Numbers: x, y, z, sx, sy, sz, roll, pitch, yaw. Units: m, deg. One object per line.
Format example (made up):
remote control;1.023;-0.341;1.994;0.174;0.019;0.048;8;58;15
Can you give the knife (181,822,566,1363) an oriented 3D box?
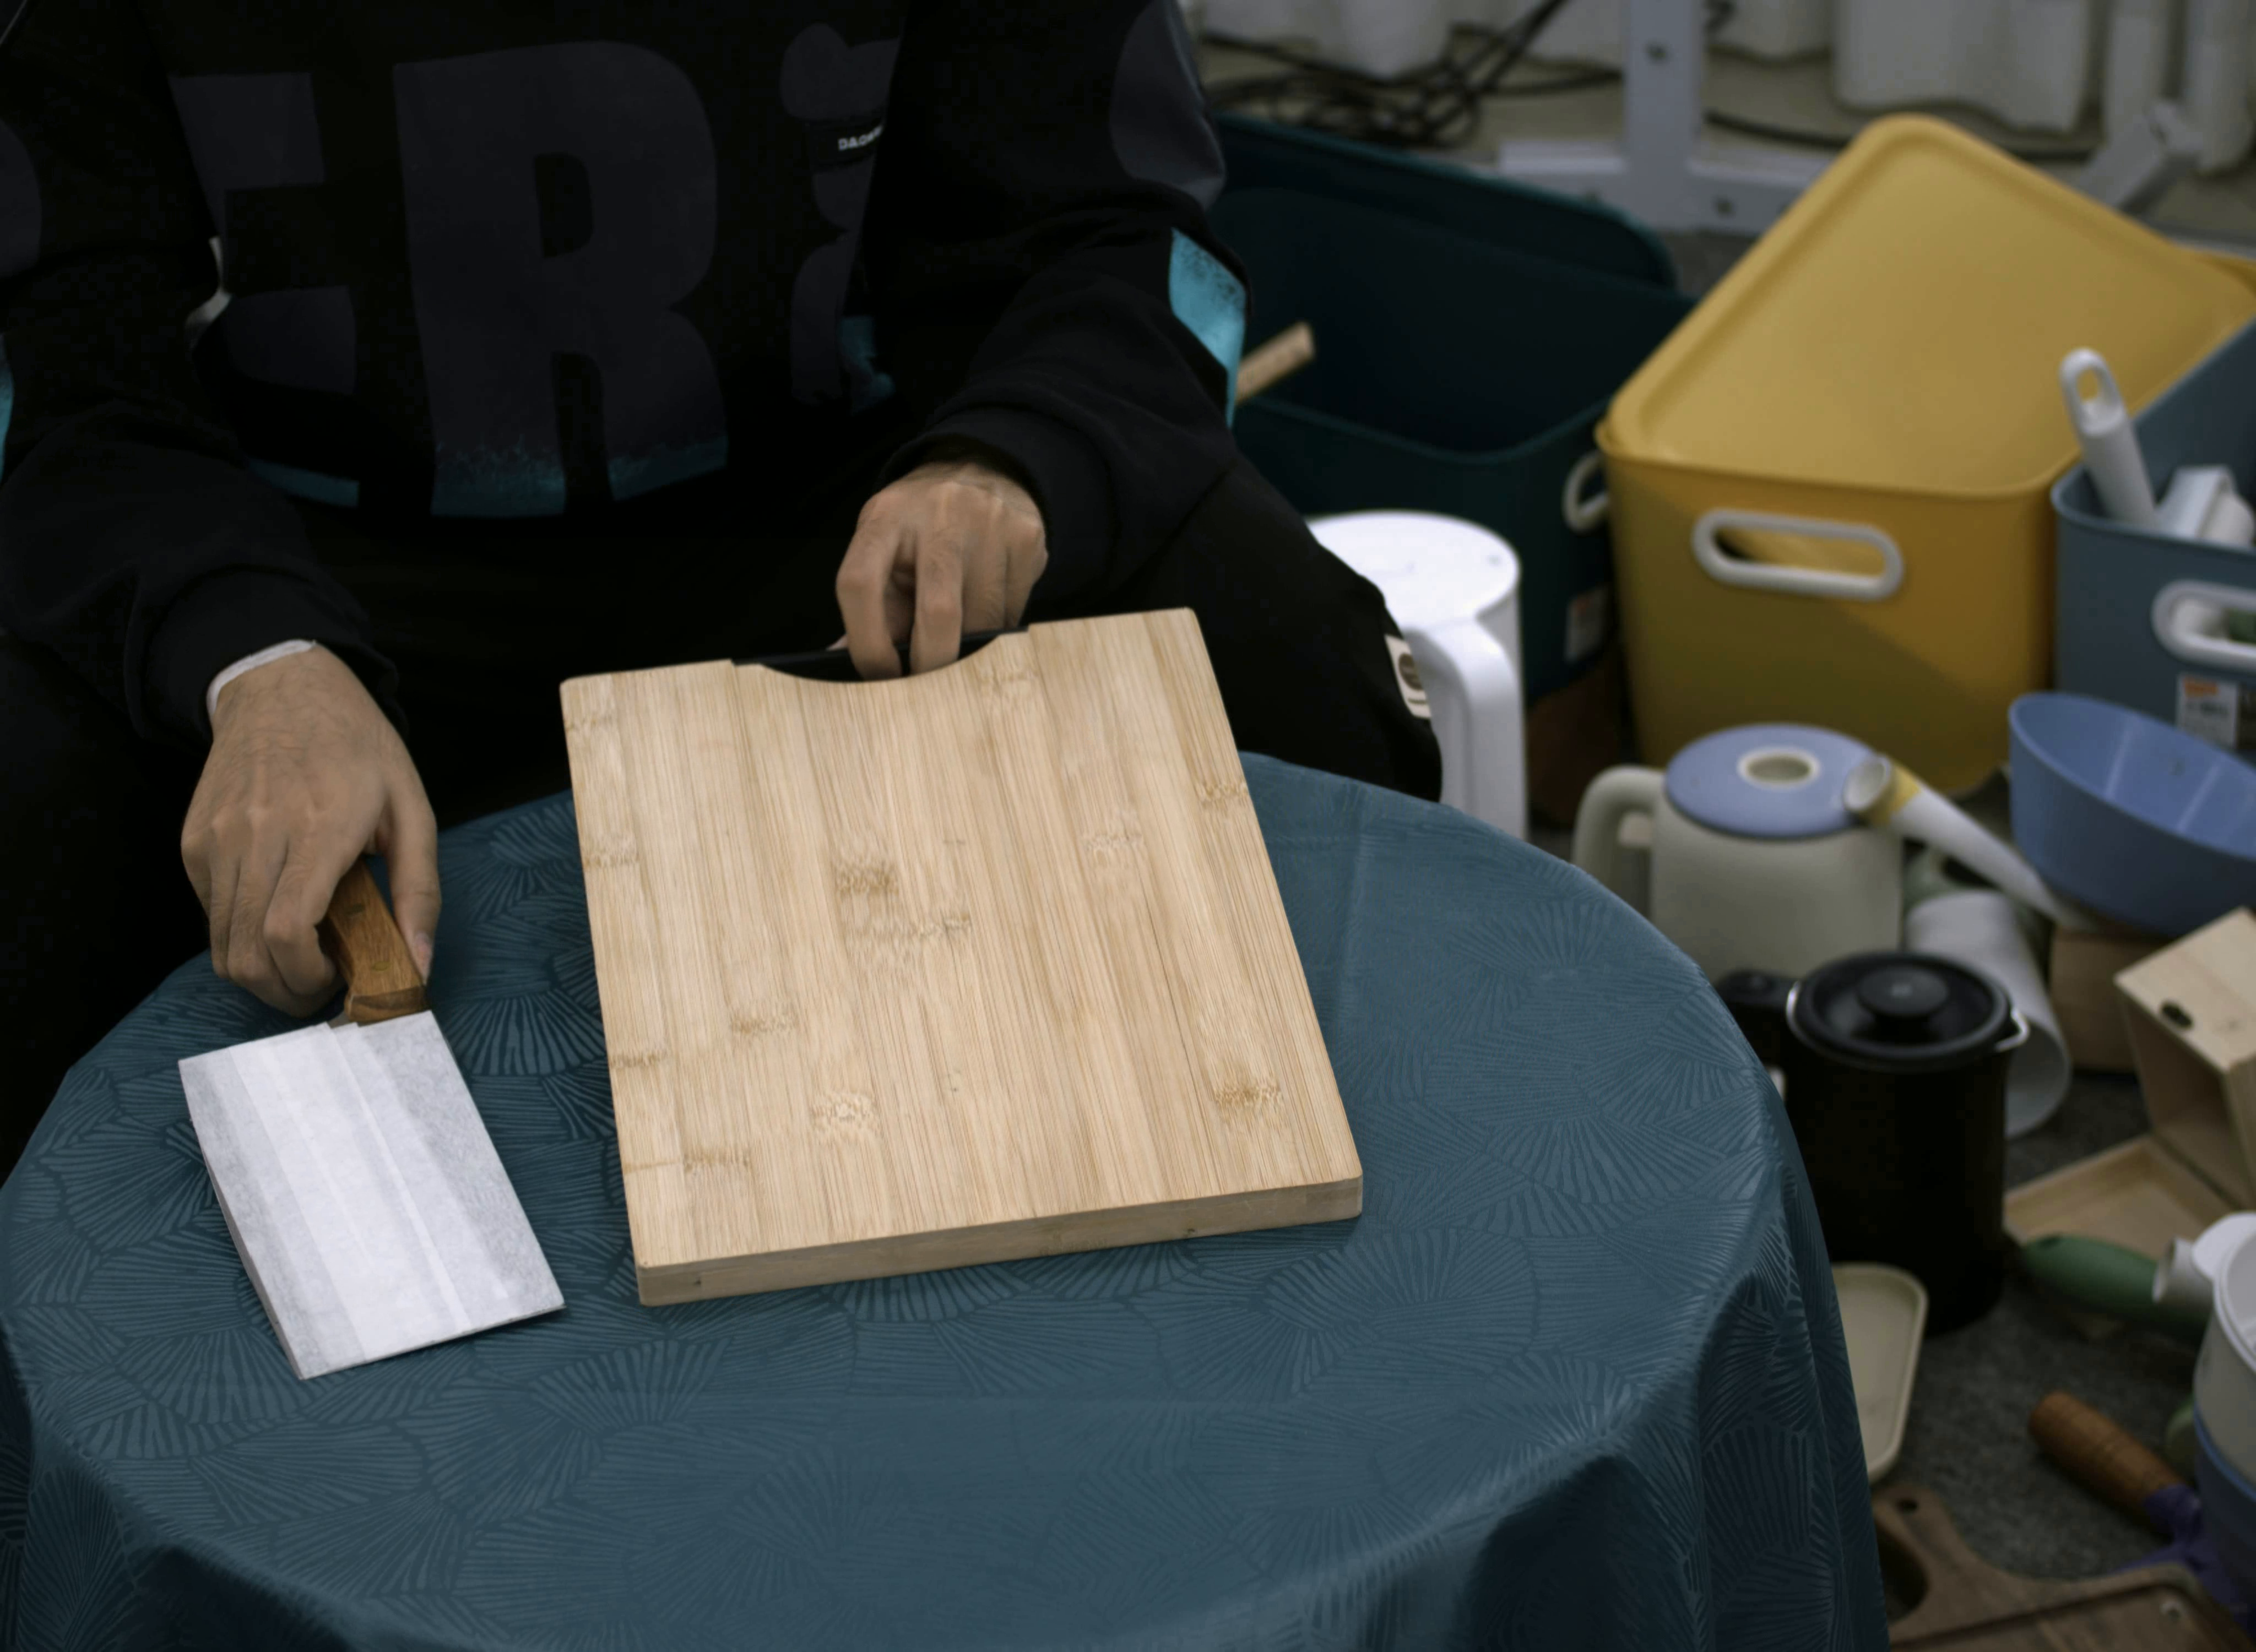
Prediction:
knife;-0.272;0.089;1.917;0.093;0.021;0.309;-14;34;-15

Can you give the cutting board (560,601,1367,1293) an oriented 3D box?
cutting board;-0.066;0.036;1.964;0.250;0.023;0.354;-7;36;-8
